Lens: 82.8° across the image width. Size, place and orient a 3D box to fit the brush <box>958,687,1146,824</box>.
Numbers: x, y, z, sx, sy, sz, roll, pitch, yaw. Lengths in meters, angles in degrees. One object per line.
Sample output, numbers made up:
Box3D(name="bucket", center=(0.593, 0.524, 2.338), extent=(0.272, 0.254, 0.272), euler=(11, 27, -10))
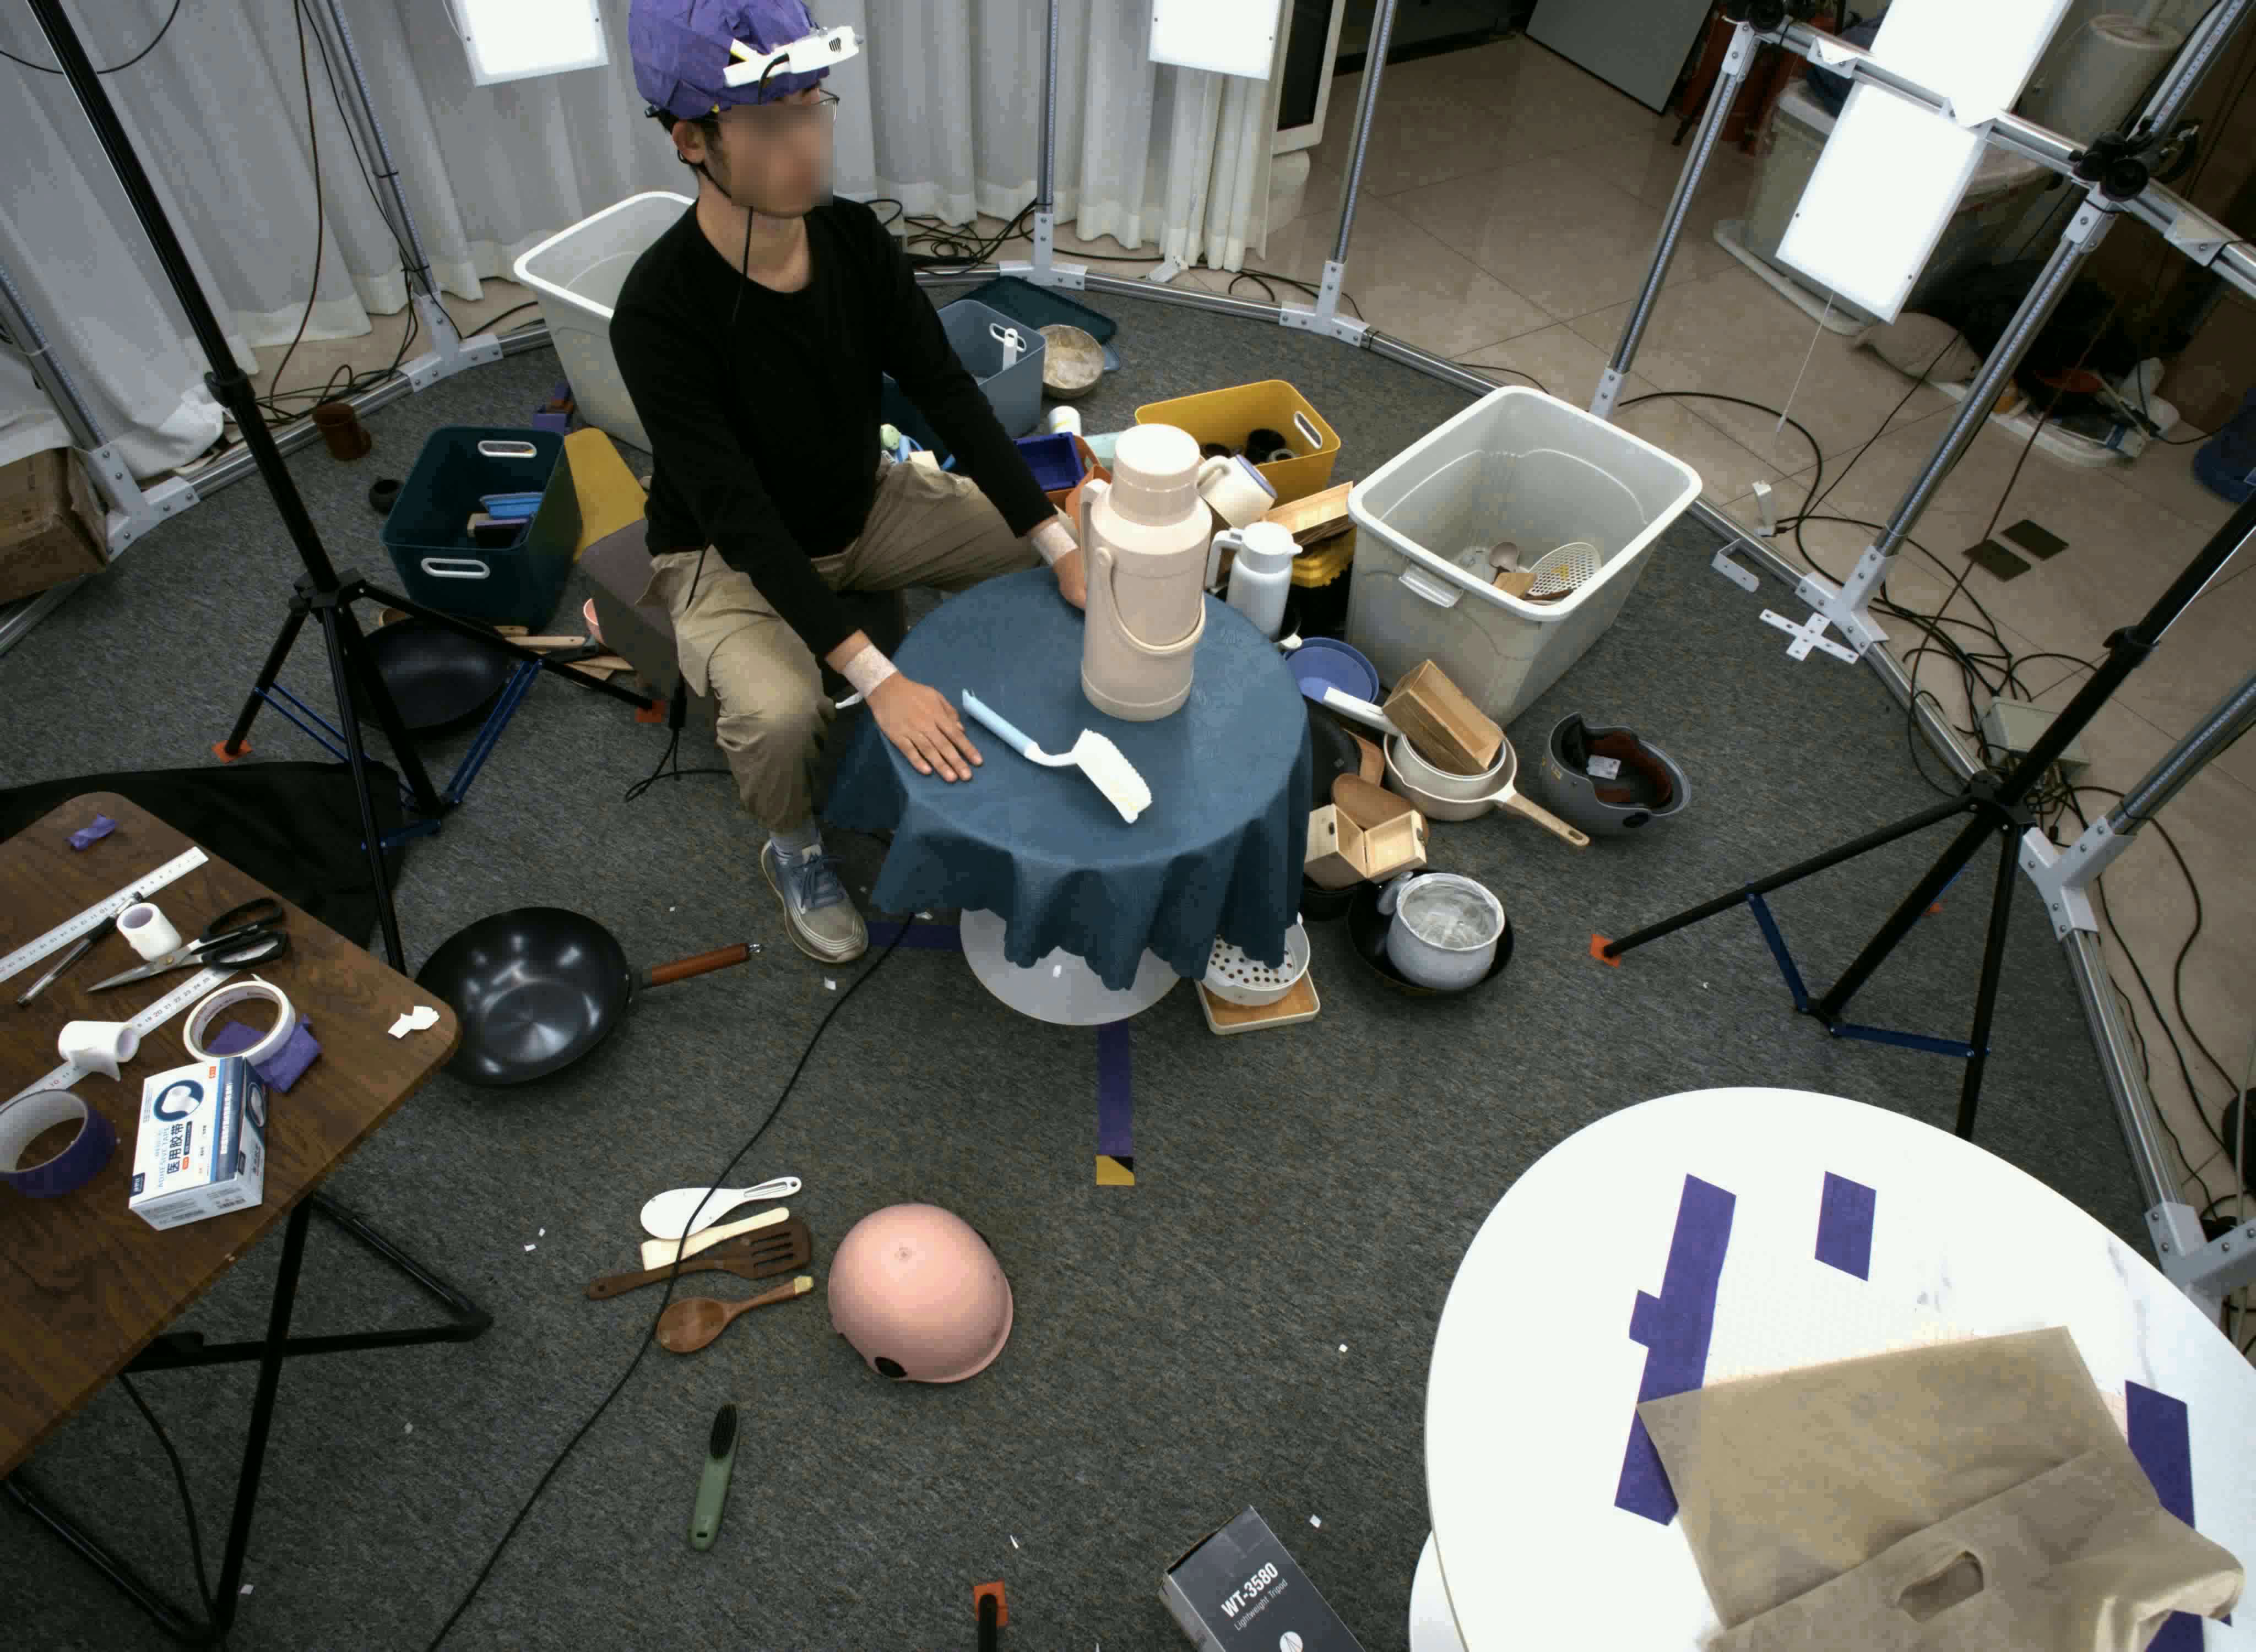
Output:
Box3D(name="brush", center=(-0.099, -0.123, 1.718), extent=(0.330, 0.081, 0.085), euler=(37, 62, 23))

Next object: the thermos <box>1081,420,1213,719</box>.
Box3D(name="thermos", center=(0.016, -0.343, 1.713), extent=(0.210, 0.396, 0.177), euler=(38, 58, 25))
